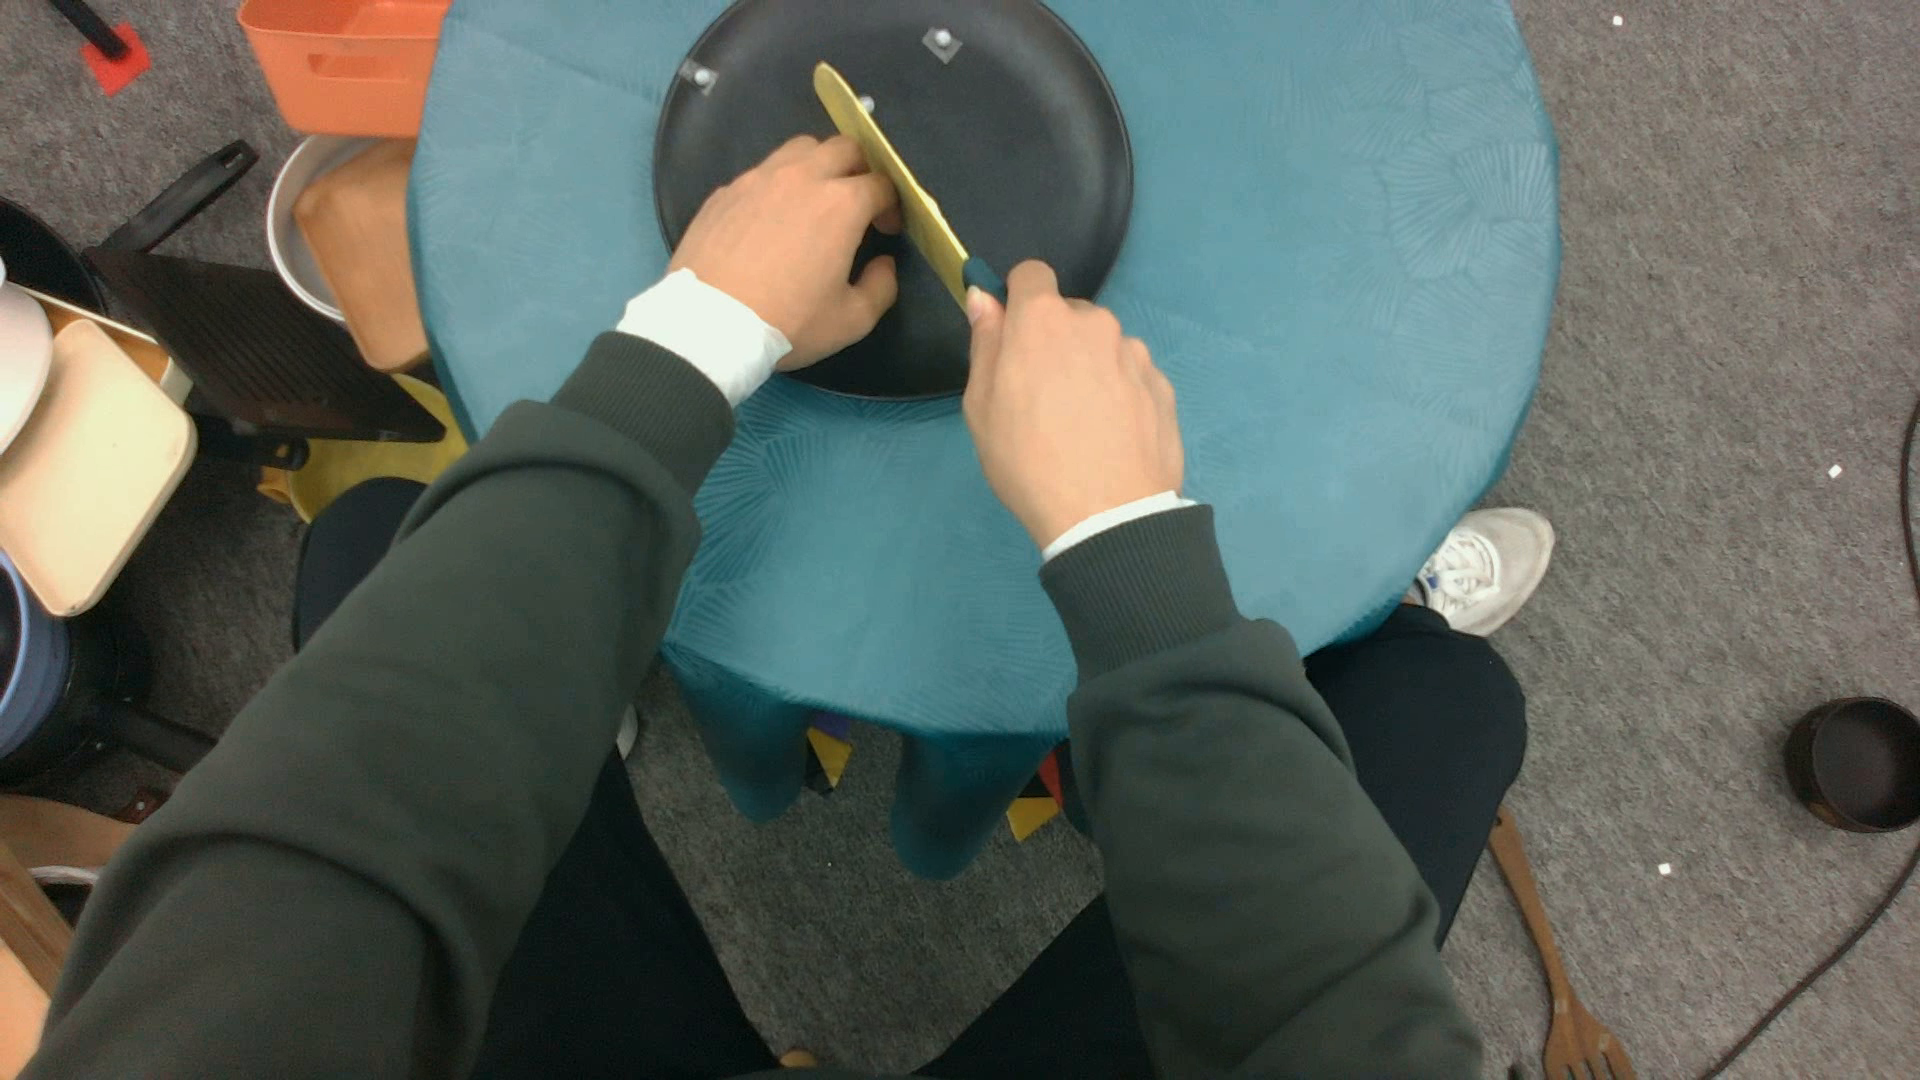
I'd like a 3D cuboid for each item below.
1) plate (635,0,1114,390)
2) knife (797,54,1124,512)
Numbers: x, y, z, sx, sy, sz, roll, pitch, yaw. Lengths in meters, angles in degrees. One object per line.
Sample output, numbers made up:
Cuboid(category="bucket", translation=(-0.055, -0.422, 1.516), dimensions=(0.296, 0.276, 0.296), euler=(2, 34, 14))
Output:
Cuboid(category="plate", translation=(-0.042, -0.191, 0.707), dimensions=(0.244, 0.023, 0.245), euler=(1, 78, -4))
Cuboid(category="knife", translation=(-0.008, -0.126, 0.642), dimensions=(0.027, 0.081, 0.290), euler=(-31, 69, -3))
